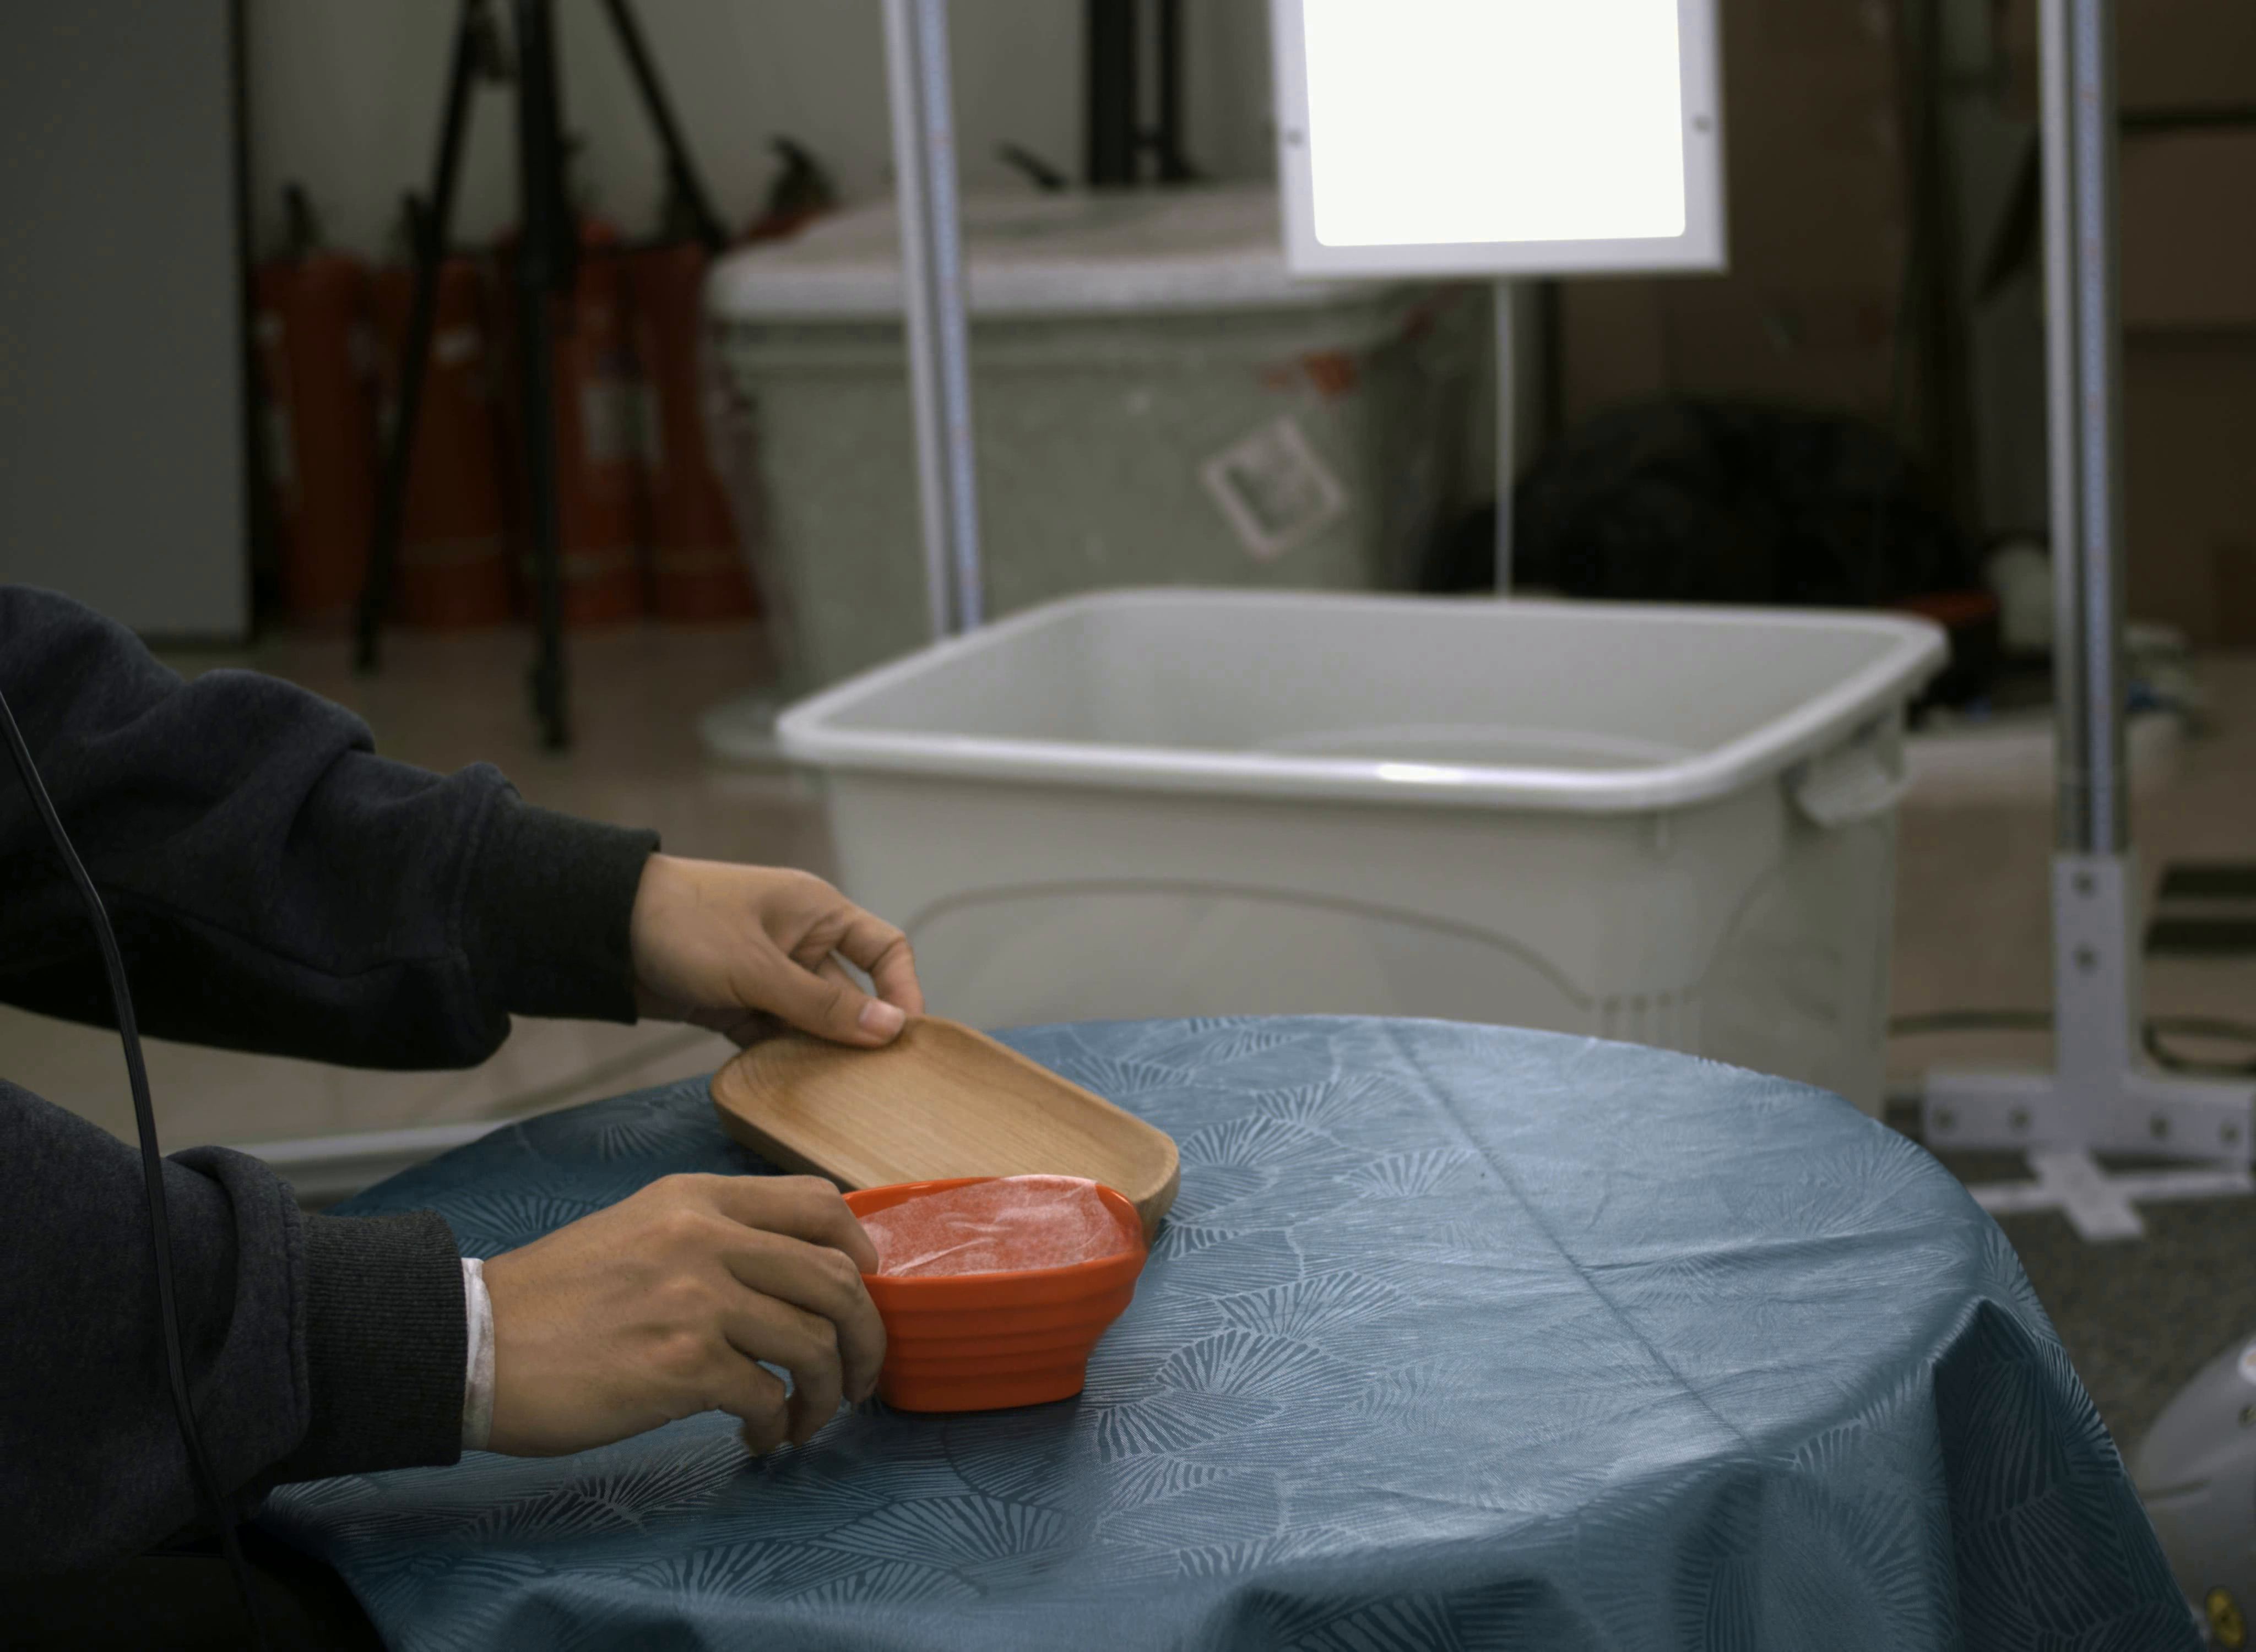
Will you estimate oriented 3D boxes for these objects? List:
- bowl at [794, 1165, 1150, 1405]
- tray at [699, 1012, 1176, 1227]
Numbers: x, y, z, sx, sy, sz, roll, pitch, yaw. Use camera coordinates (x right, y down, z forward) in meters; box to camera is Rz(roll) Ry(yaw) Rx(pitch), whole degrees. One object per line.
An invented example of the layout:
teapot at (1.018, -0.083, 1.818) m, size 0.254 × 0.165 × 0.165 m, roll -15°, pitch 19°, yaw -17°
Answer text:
bowl at (-0.048, 0.145, 1.715) m, size 0.118 × 0.051 × 0.119 m, roll -1°, pitch 13°, yaw -1°
tray at (-0.068, 0.108, 1.925) m, size 0.099 × 0.020 × 0.235 m, roll -19°, pitch 21°, yaw -27°
